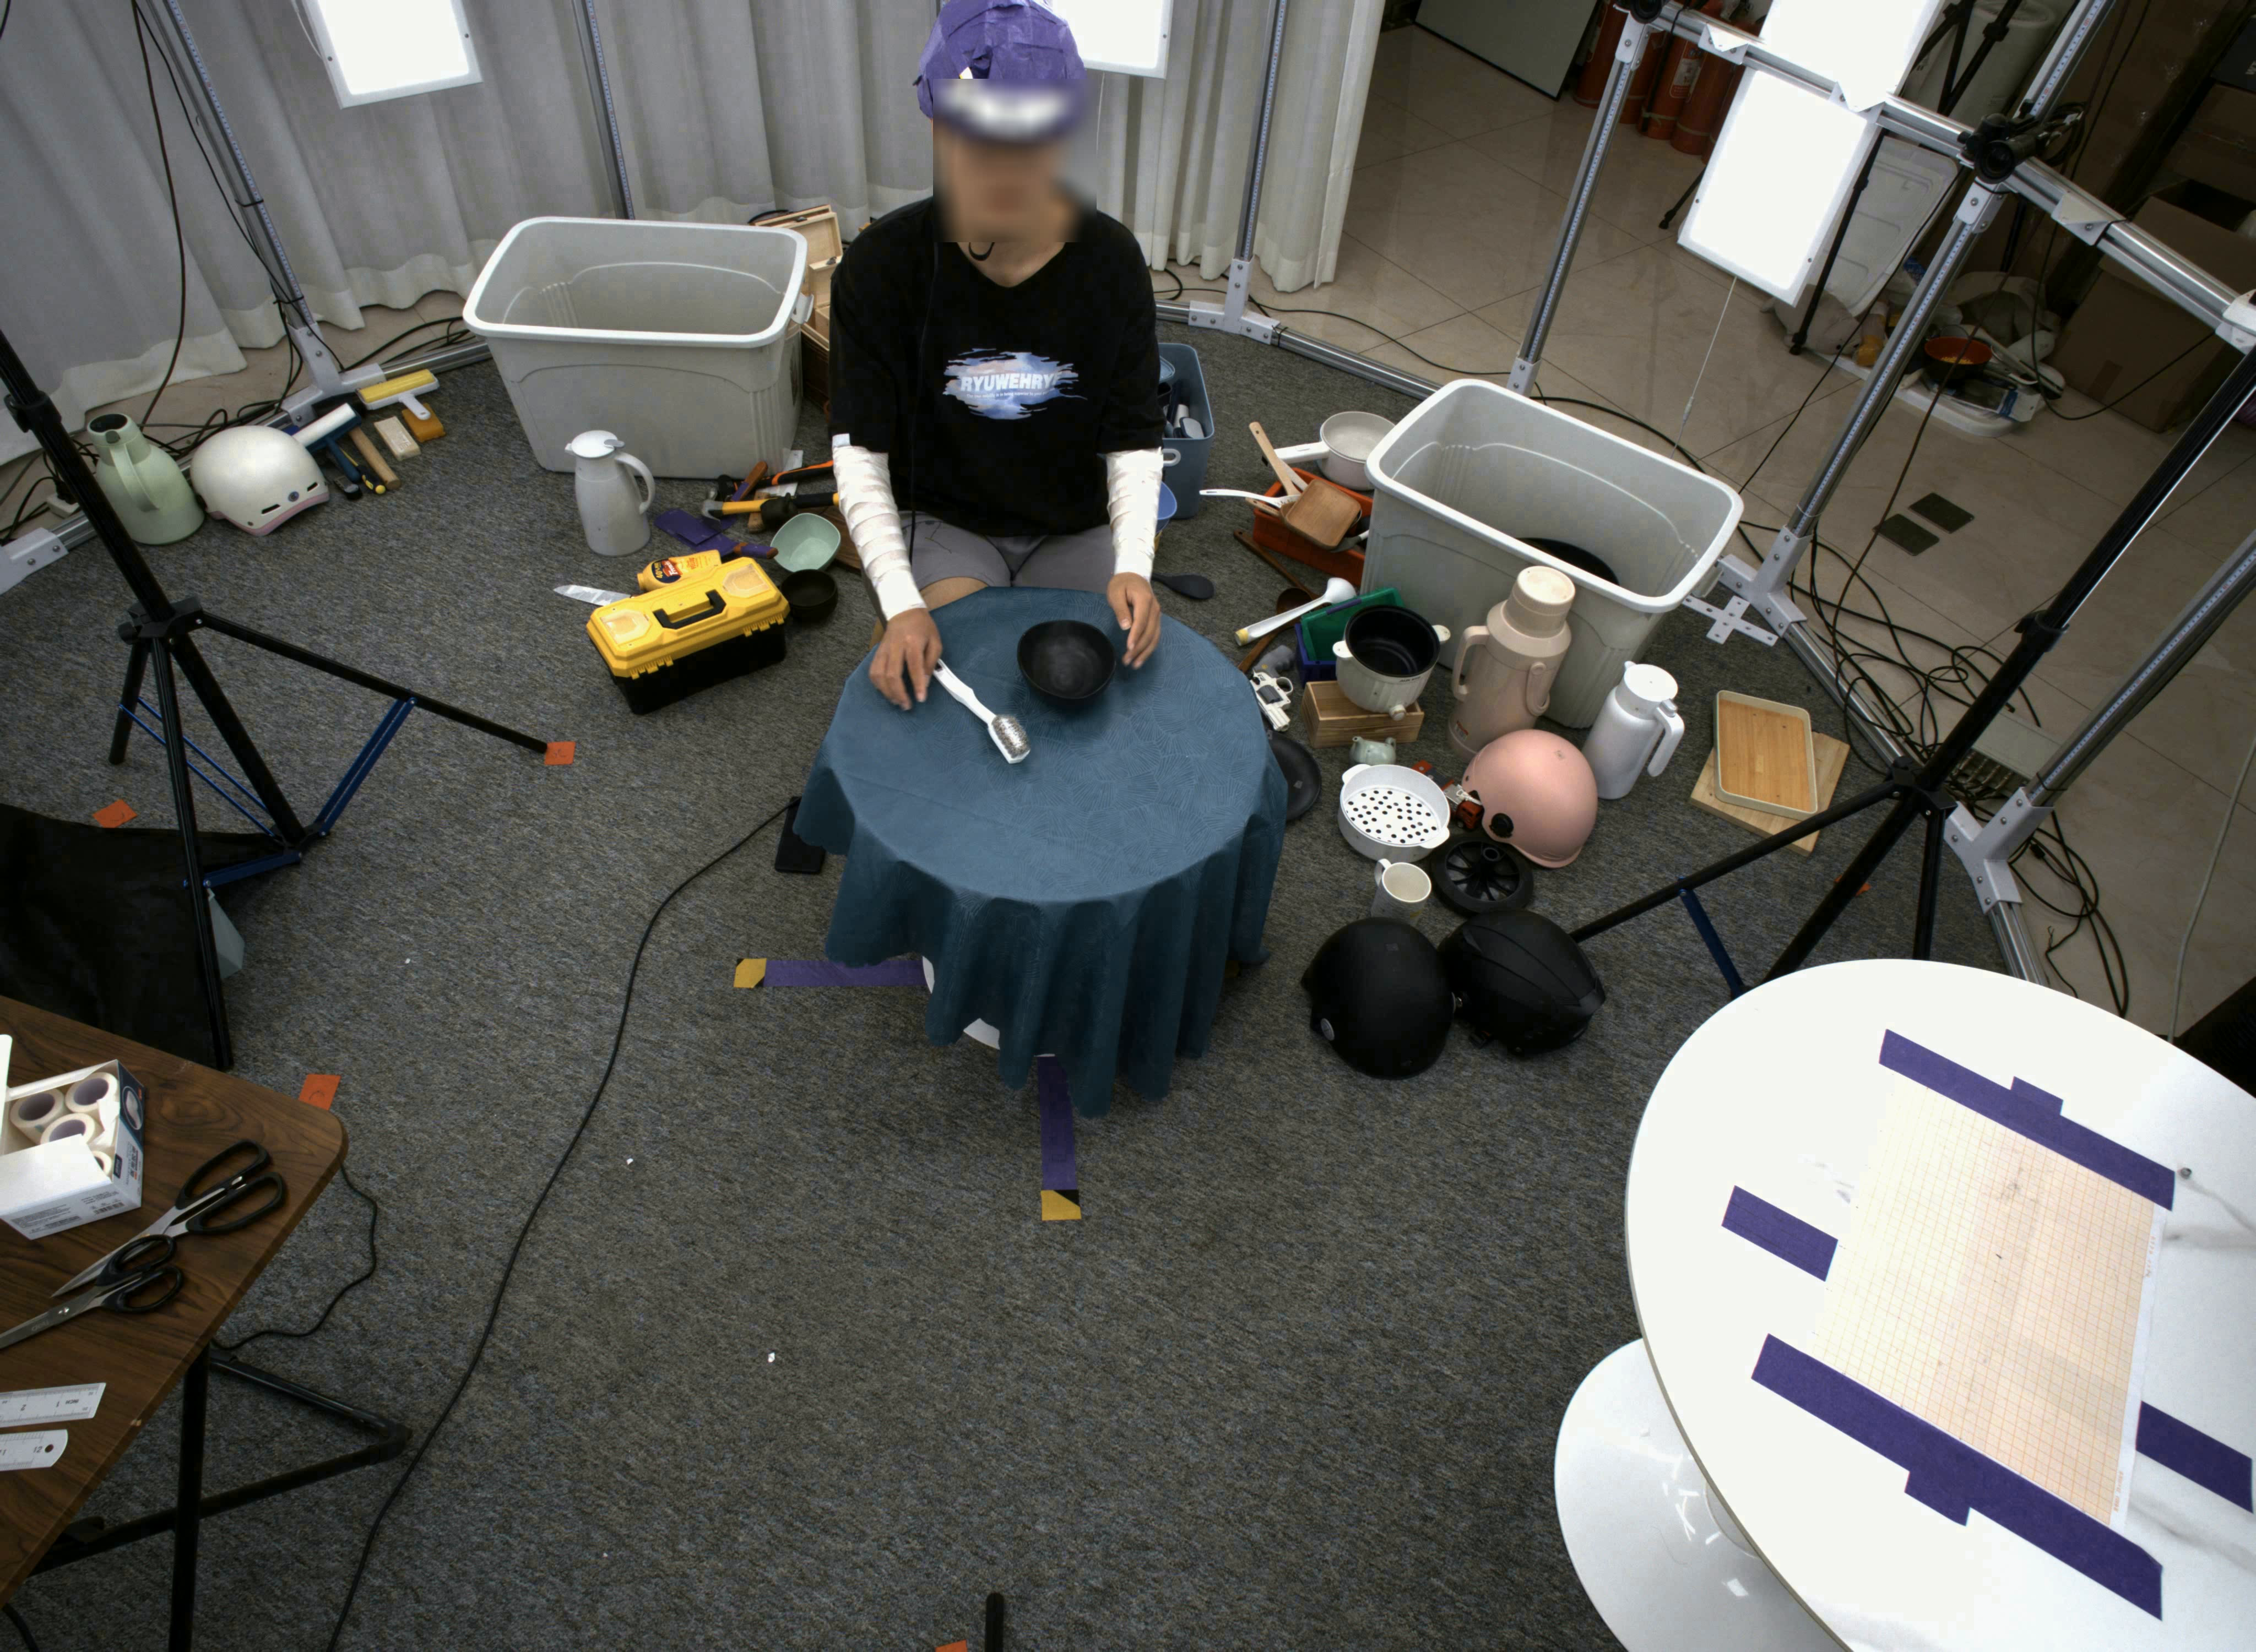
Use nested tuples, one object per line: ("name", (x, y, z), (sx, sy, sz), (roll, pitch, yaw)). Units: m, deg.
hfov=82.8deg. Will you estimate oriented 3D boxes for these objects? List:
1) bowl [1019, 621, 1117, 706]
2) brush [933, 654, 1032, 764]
("bowl", (-0.086, -0.222, 1.819), (0.137, 0.065, 0.174), (-6, 48, -9))
("brush", (-0.206, -0.176, 1.781), (0.034, 0.049, 0.248), (-26, 56, -21))
